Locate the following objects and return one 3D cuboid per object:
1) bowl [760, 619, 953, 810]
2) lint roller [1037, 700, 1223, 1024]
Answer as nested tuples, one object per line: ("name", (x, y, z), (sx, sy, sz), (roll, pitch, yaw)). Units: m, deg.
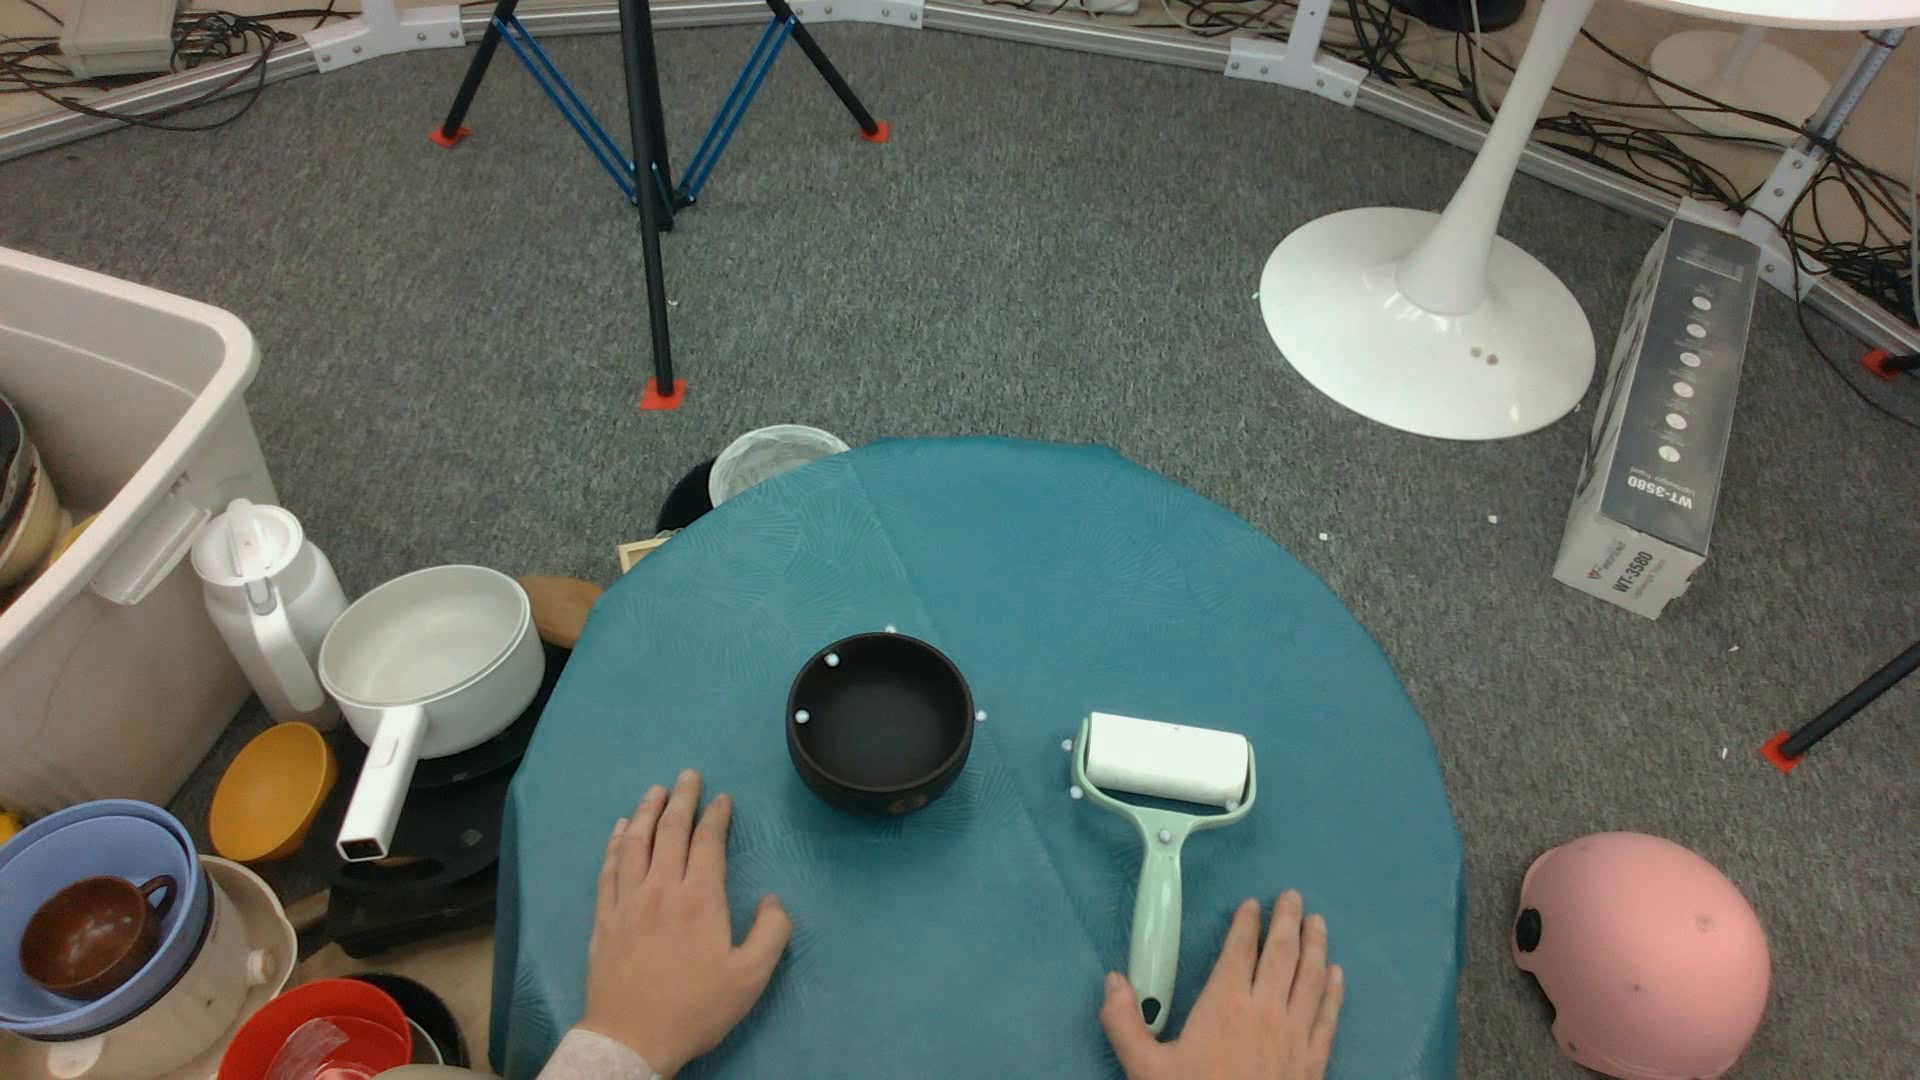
("bowl", (-0.066, 0.116, 0.863), (0.118, 0.069, 0.118), (4, 53, -5))
("lint roller", (0.100, 0.191, 0.843), (0.116, 0.048, 0.198), (9, 53, -1))
